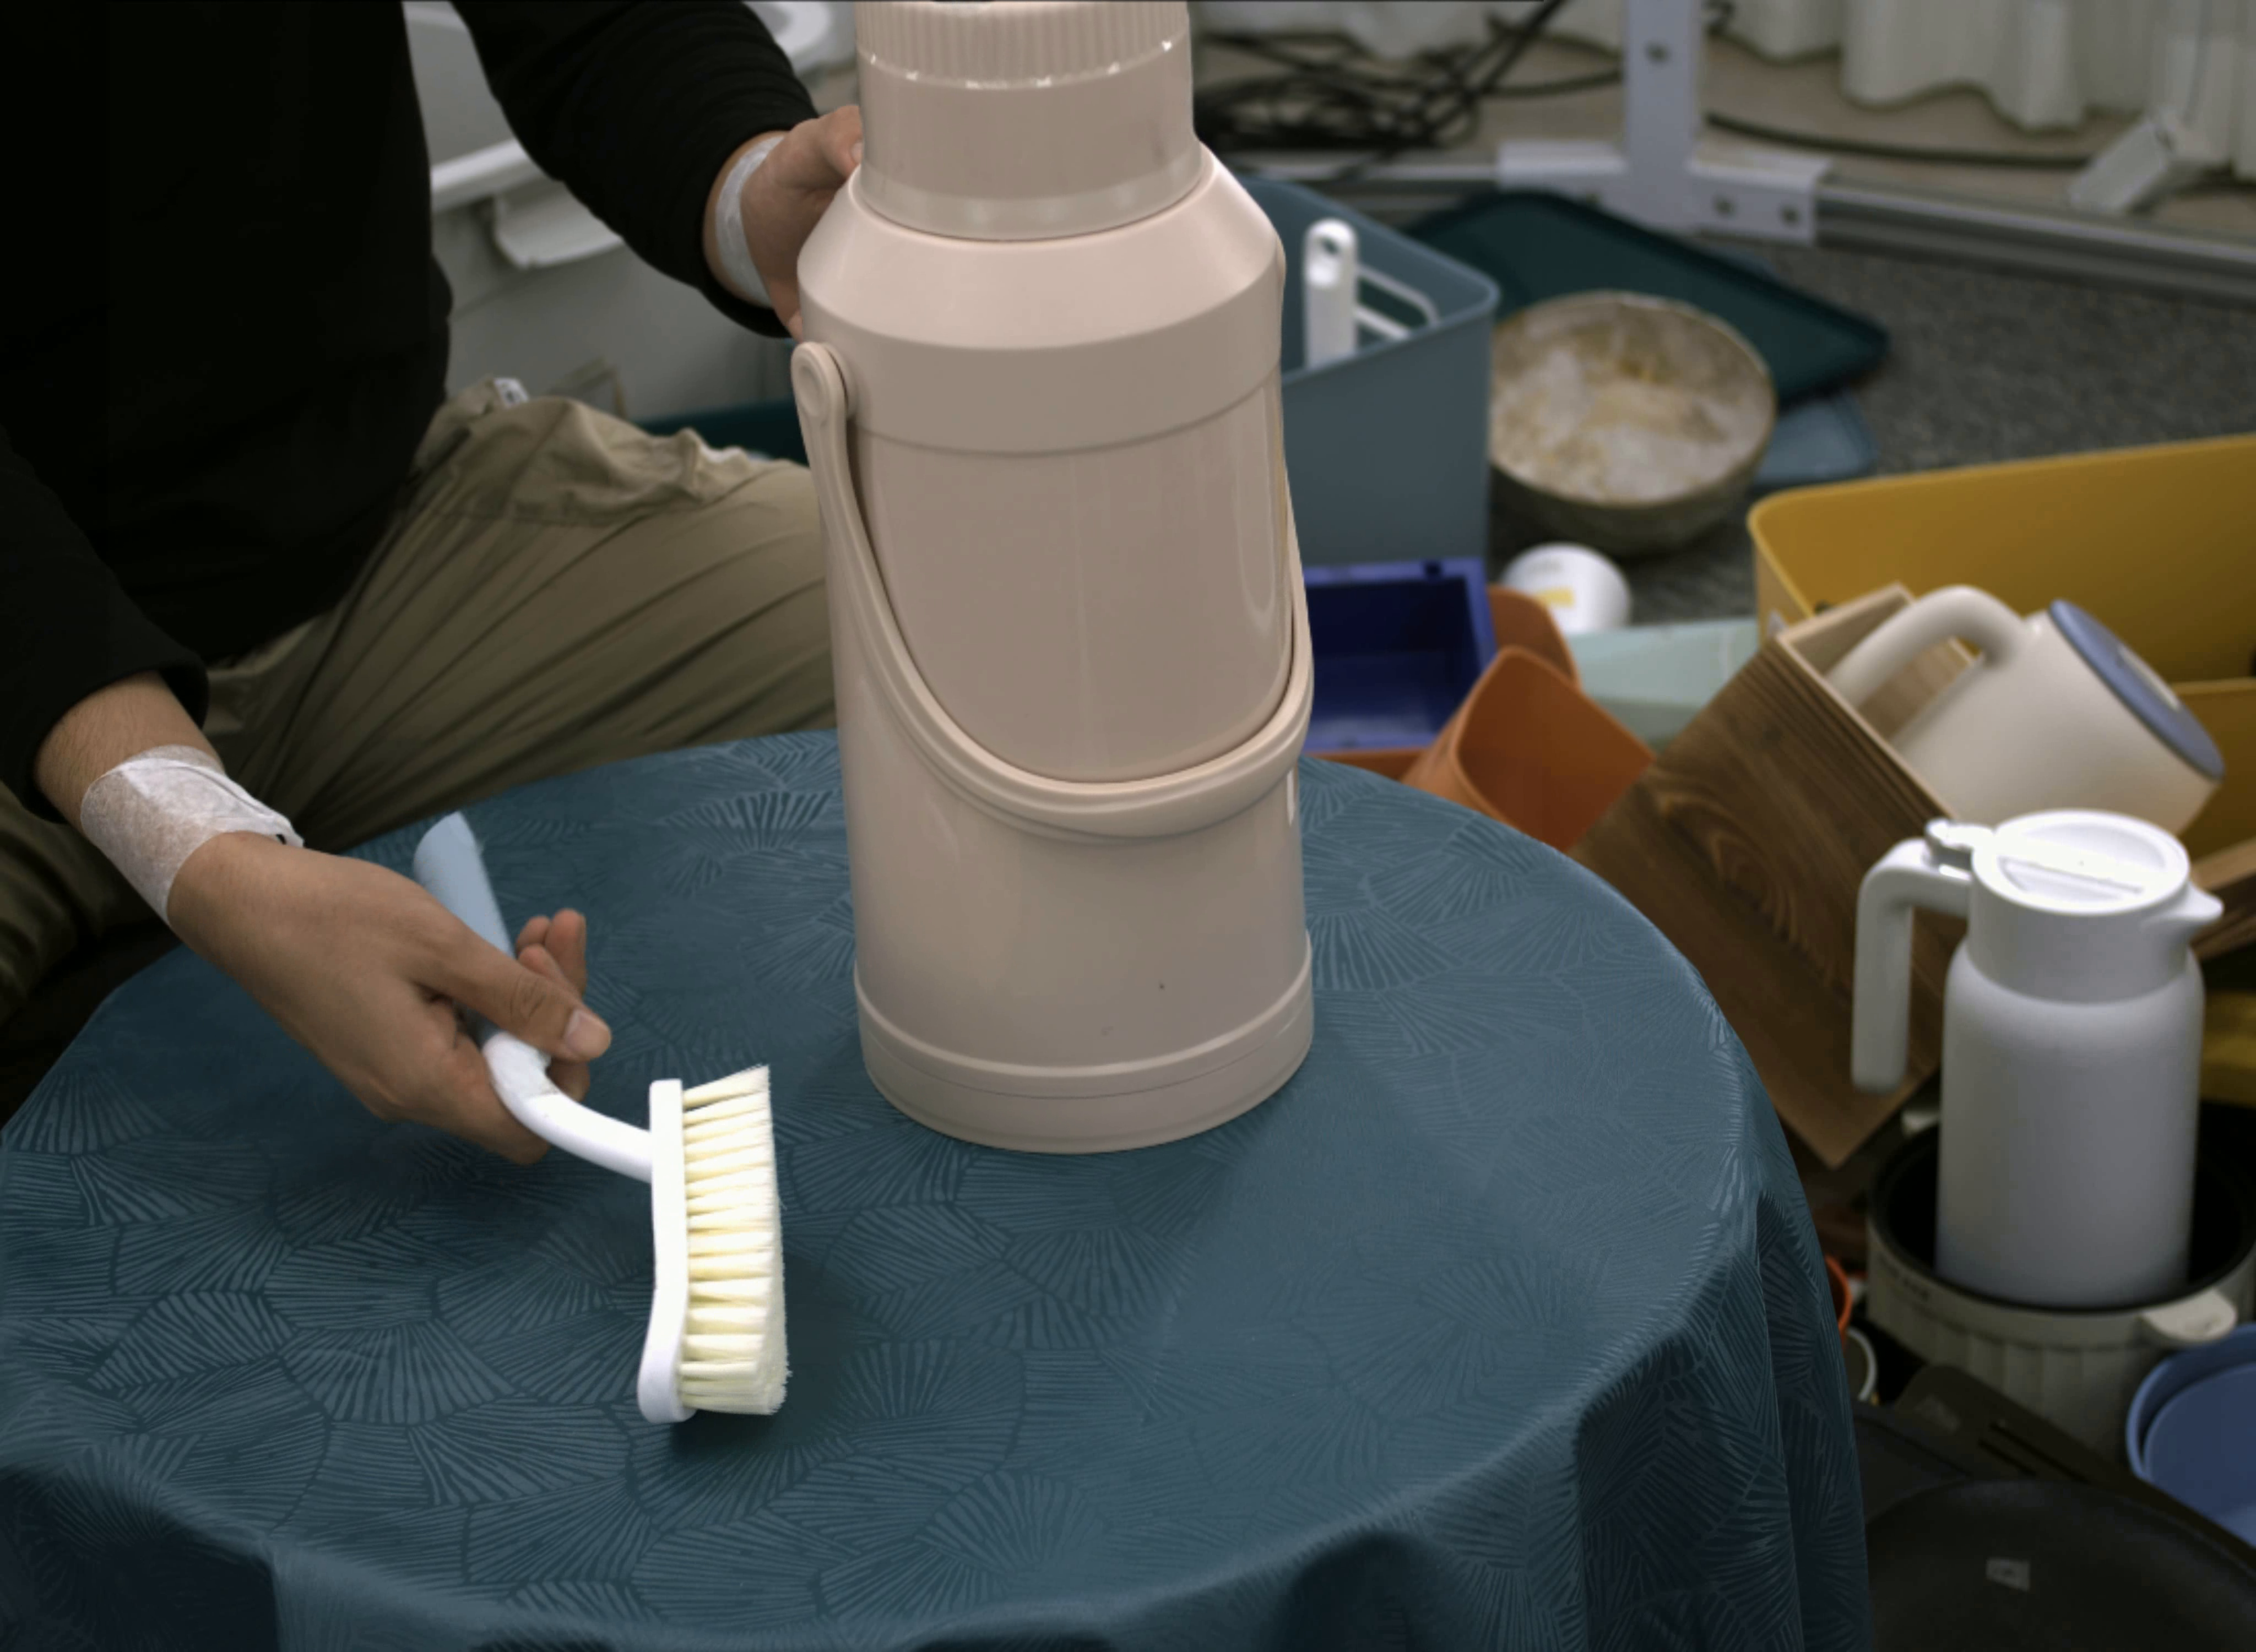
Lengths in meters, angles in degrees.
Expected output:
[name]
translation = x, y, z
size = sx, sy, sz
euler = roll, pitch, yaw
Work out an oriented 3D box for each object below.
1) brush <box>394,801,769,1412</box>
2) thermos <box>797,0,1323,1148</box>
[brush]
translation = -0.162, 0.078, 1.852
size = 0.084, 0.082, 0.329
euler = 26, 21, -33
[thermos]
translation = -0.029, -0.108, 1.881
size = 0.177, 0.402, 0.207
euler = -20, 31, -28
